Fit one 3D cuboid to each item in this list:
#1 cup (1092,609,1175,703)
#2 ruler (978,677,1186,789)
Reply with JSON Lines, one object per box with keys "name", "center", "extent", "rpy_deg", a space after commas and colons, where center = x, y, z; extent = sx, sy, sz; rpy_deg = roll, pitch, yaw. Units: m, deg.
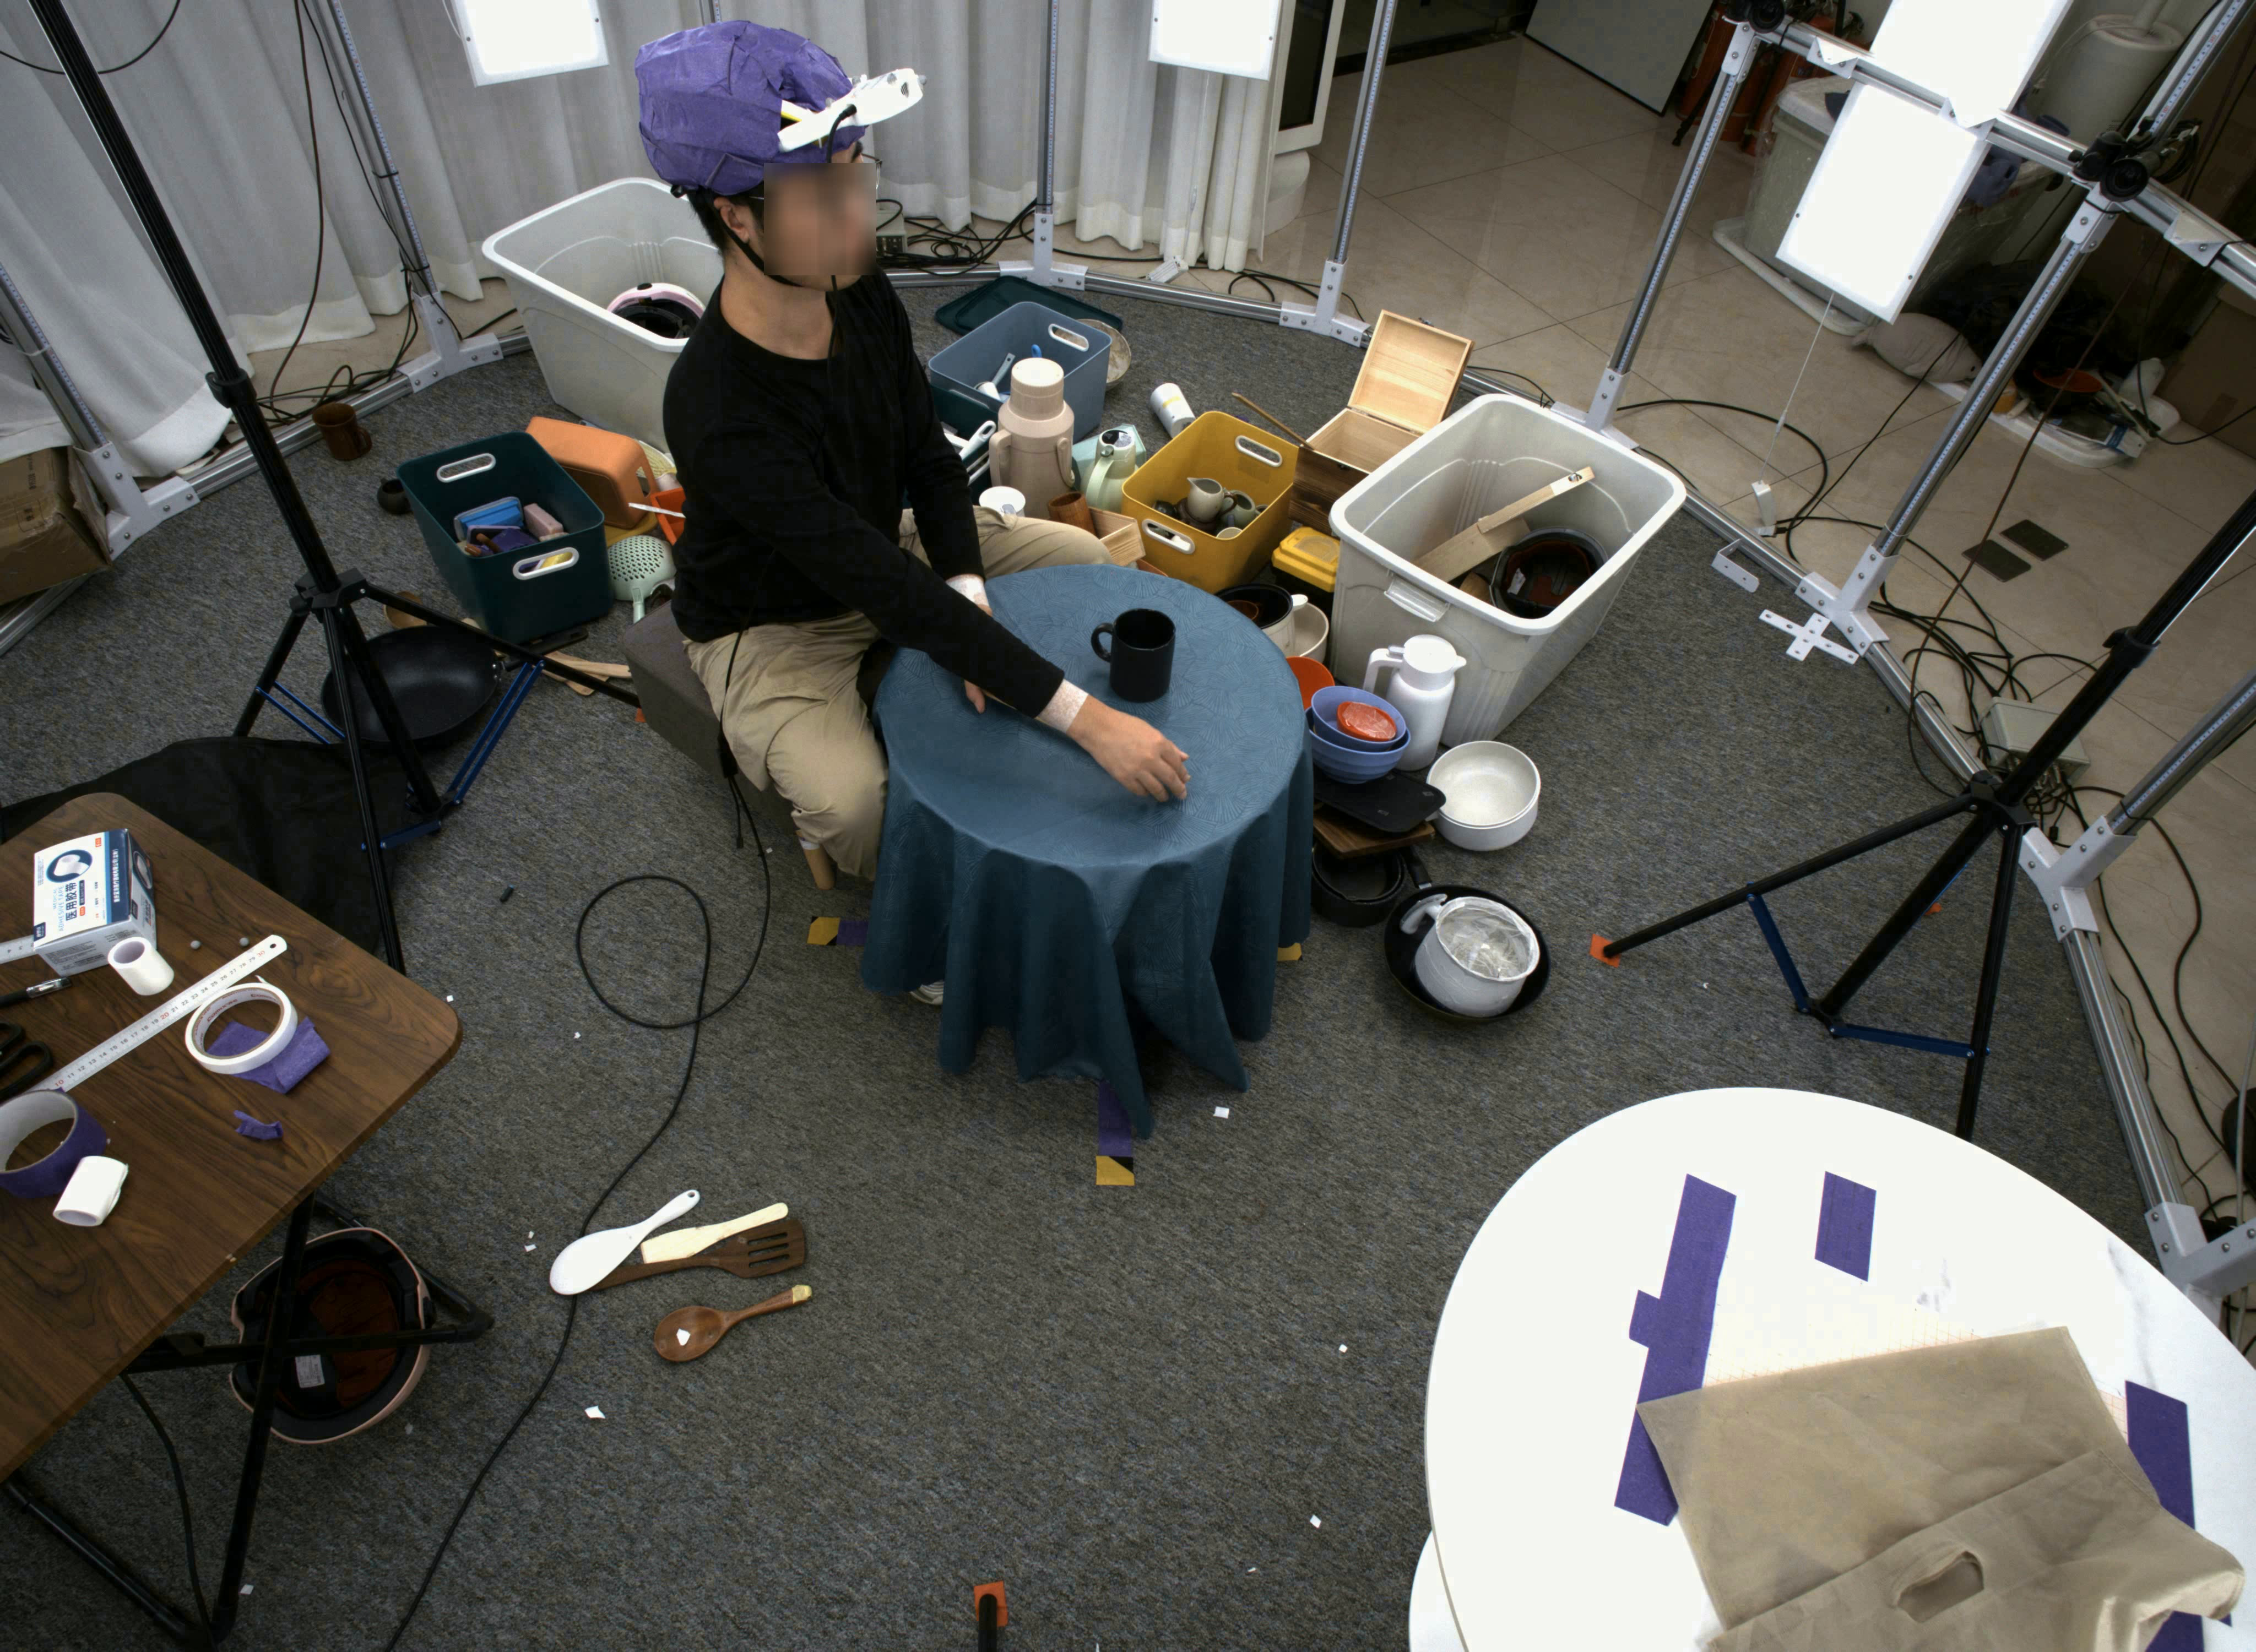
{"name": "cup", "center": [0.004, -0.247, 1.819], "extent": [0.124, 0.103, 0.090], "rpy_deg": [24, 54, 17]}
{"name": "ruler", "center": [-0.066, -0.132, 1.751], "extent": [0.335, 0.021, 0.028], "rpy_deg": [28, 48, 21]}
